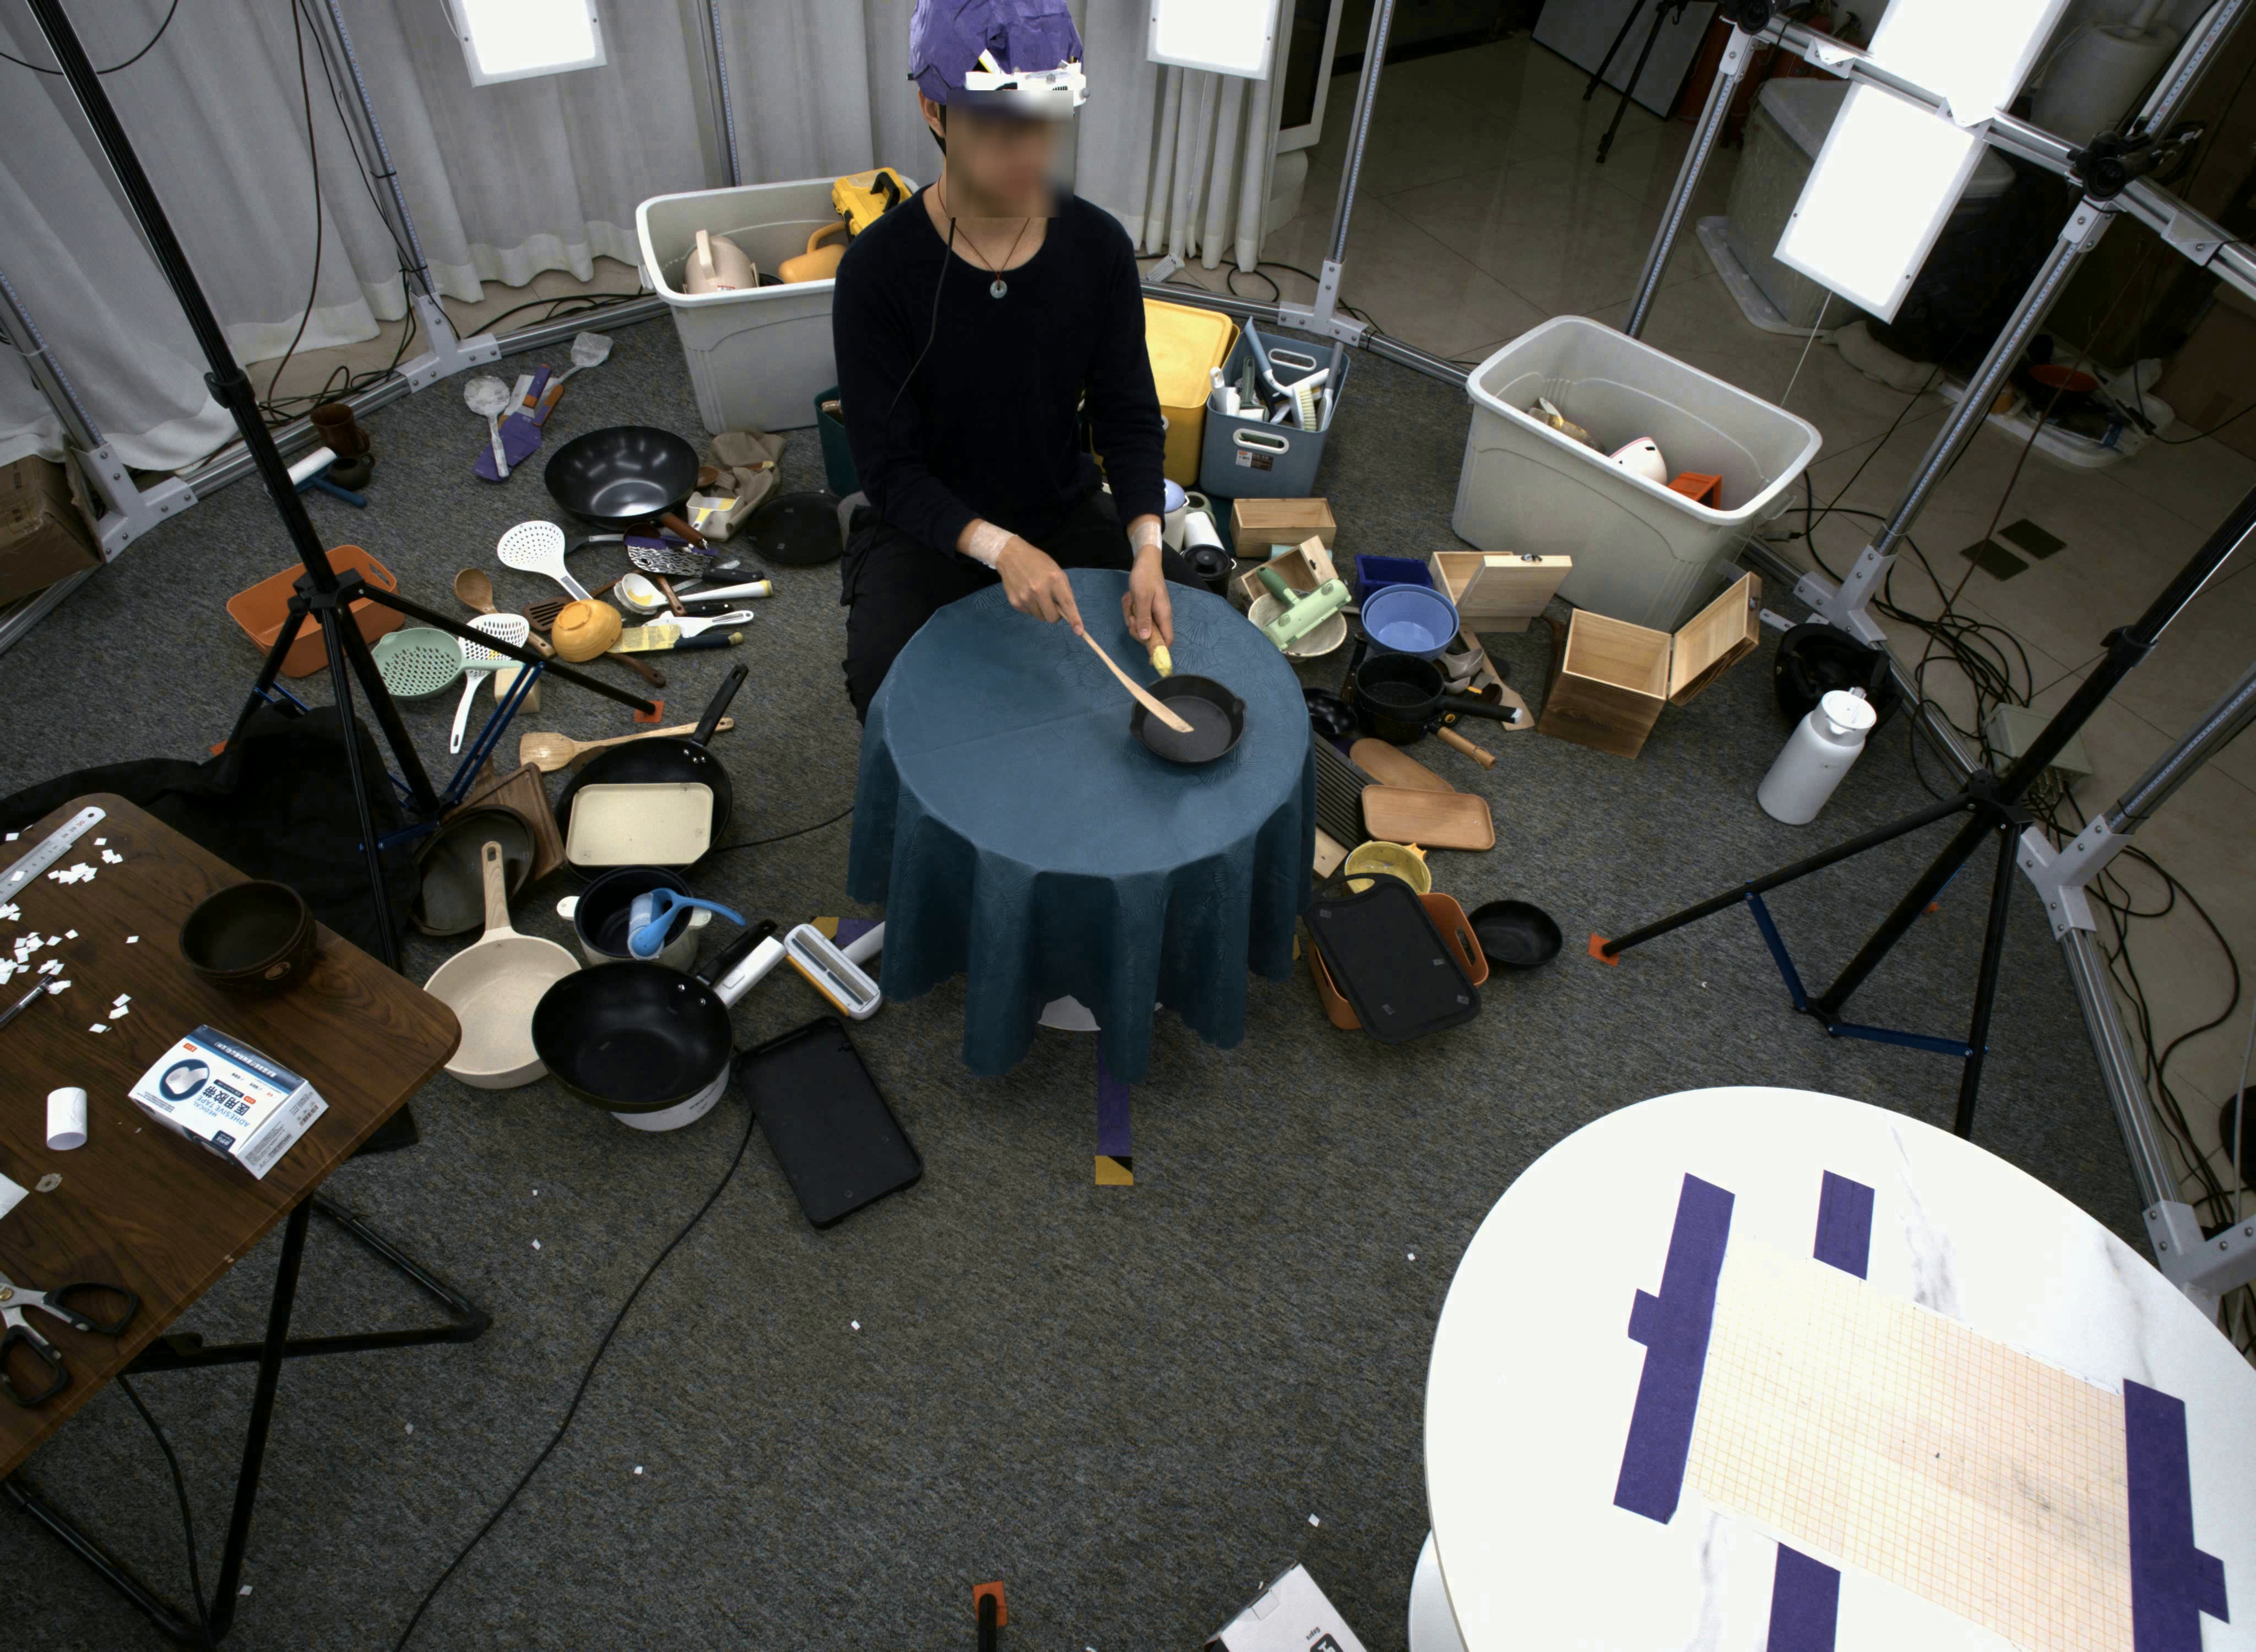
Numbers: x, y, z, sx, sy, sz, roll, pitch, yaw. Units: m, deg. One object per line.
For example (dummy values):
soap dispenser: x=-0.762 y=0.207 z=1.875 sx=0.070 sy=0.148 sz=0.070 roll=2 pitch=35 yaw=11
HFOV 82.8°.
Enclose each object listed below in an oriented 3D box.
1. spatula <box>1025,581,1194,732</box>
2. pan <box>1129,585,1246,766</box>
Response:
spatula: x=-0.028 y=-0.230 z=1.744 sx=0.332 sy=0.016 sz=0.079 roll=46 pitch=17 yaw=18
pan: x=0.059 y=-0.214 z=1.813 sx=0.169 sy=0.048 sz=0.332 roll=-12 pitch=56 yaw=-11
